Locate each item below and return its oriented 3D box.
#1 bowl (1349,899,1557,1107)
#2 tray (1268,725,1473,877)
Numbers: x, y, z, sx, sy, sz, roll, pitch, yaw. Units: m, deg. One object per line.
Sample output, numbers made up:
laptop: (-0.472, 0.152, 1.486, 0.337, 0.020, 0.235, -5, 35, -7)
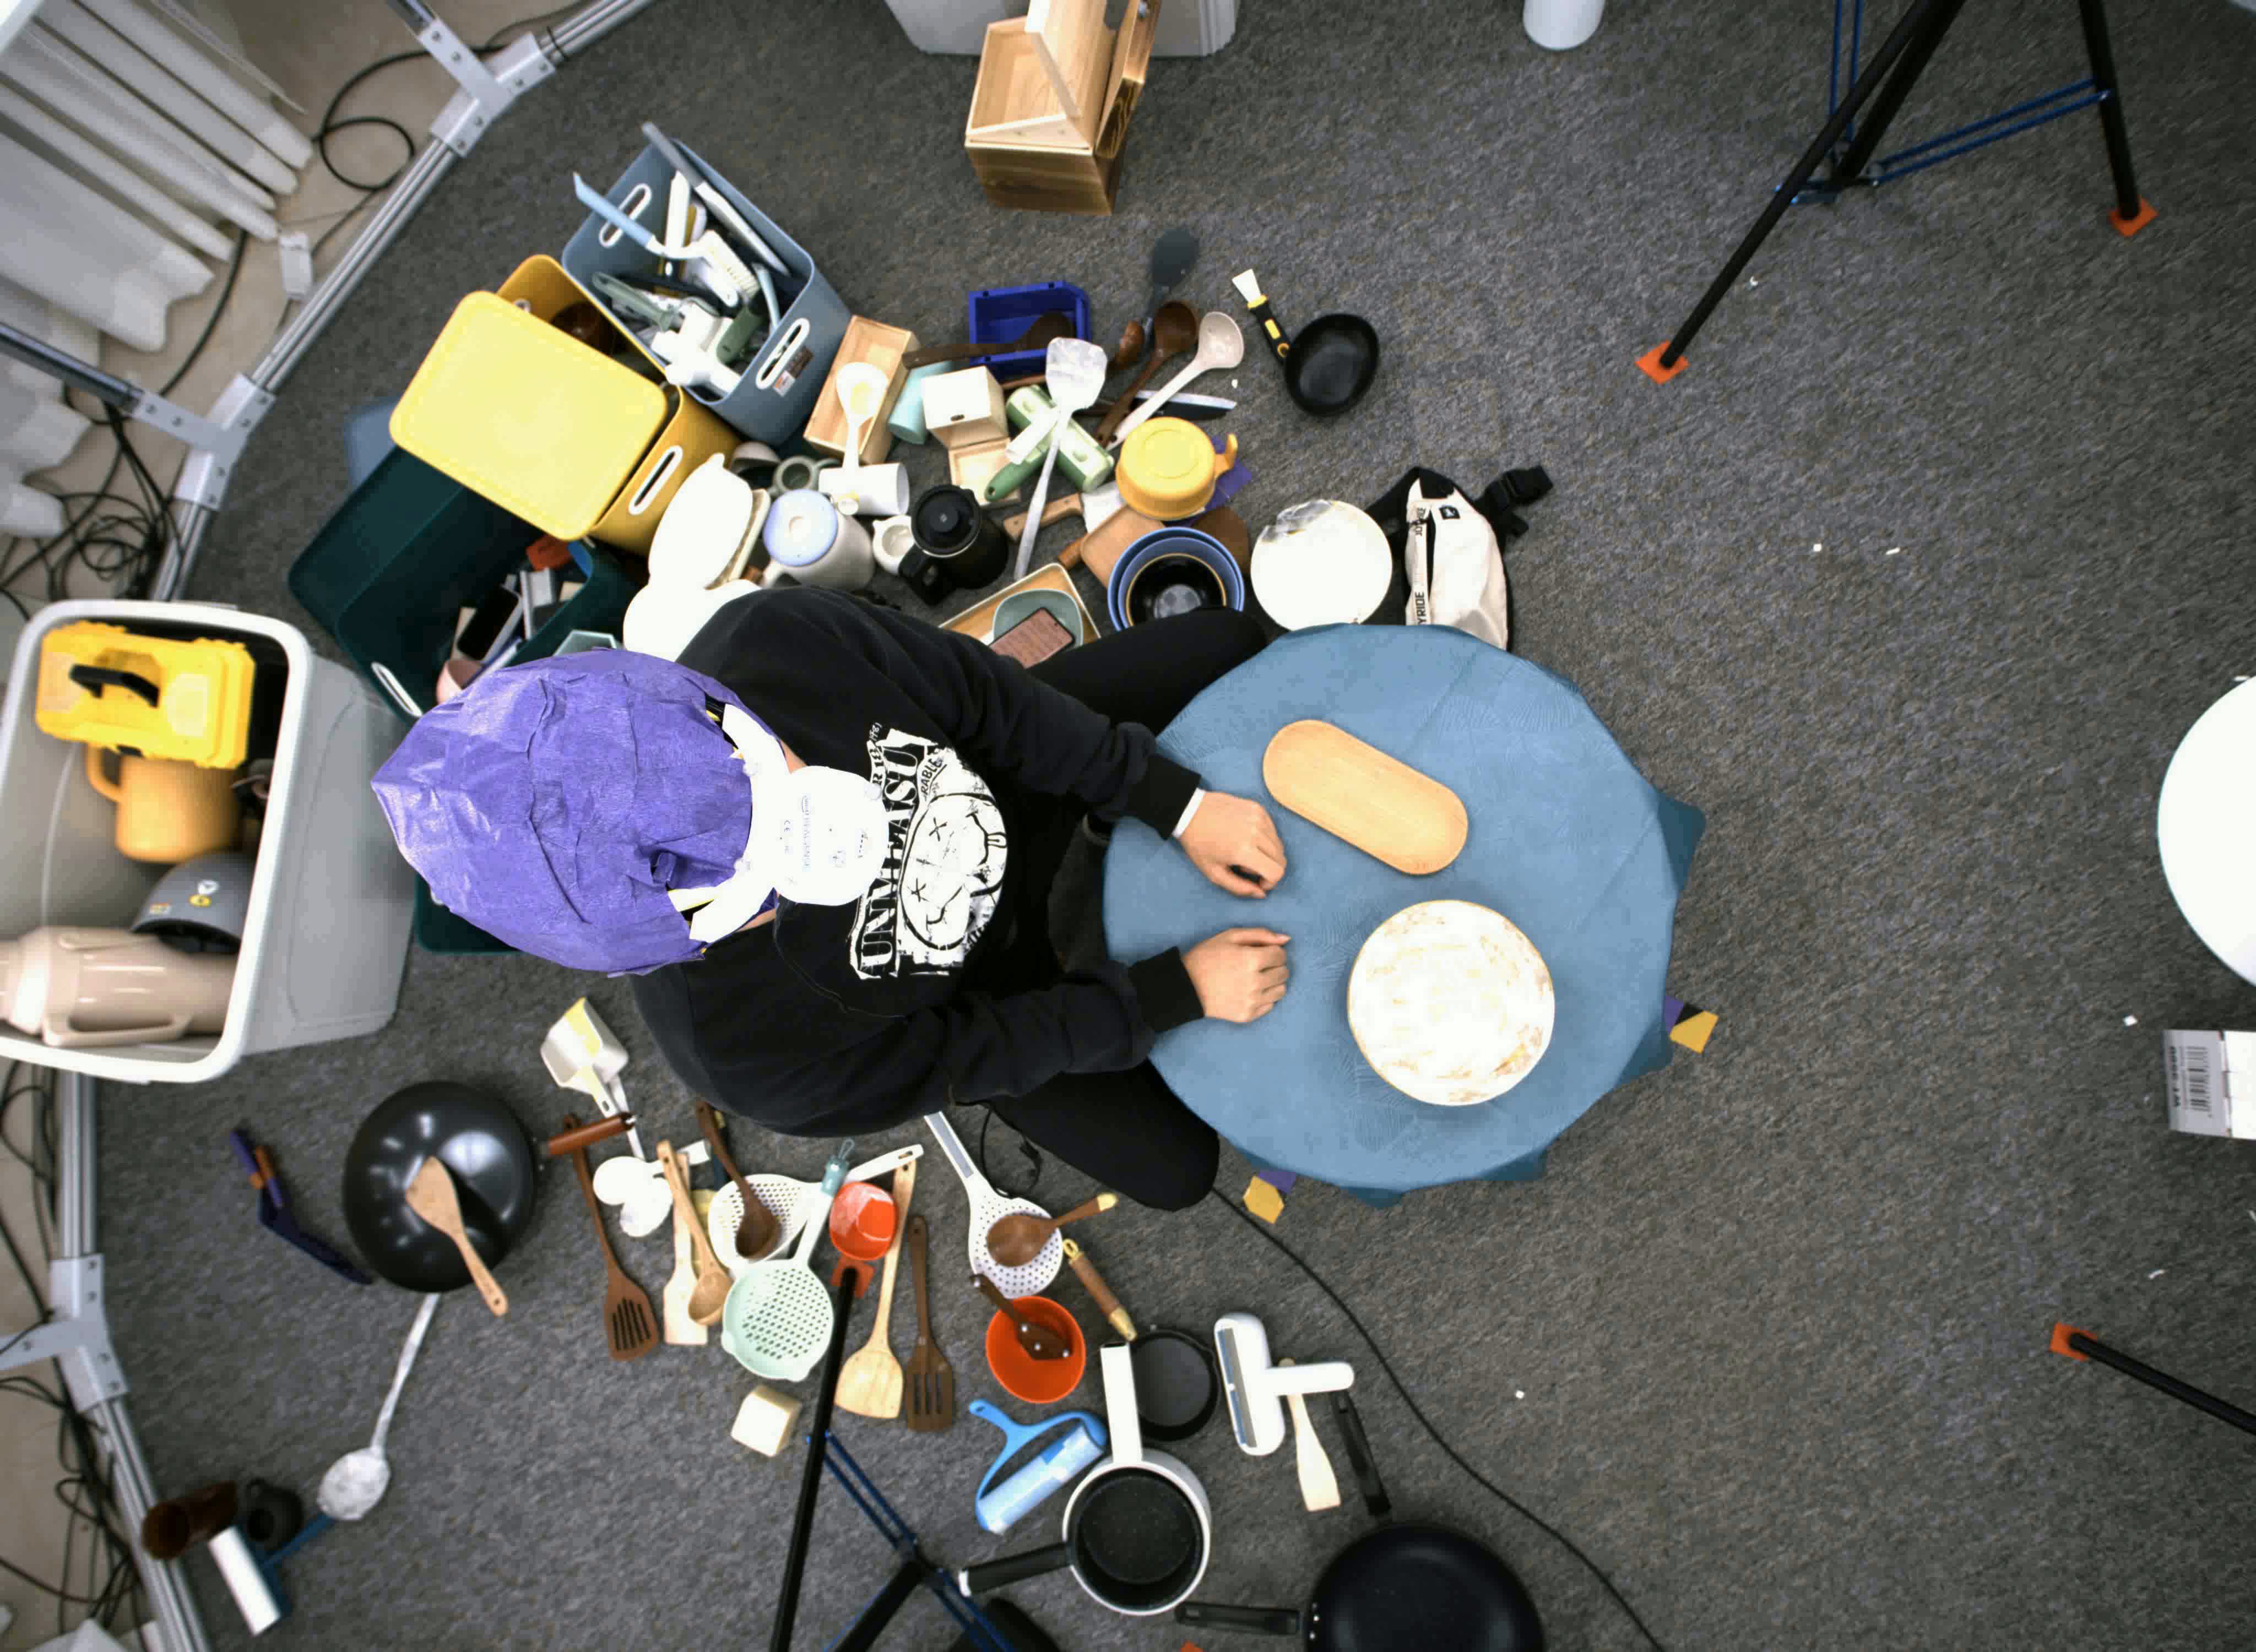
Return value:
bowl: (0.325, 0.173, 1.400, 0.215, 0.094, 0.214, -1, 87, 11)
tray: (0.257, -0.028, 1.467, 0.231, 0.020, 0.102, 28, 94, 9)
